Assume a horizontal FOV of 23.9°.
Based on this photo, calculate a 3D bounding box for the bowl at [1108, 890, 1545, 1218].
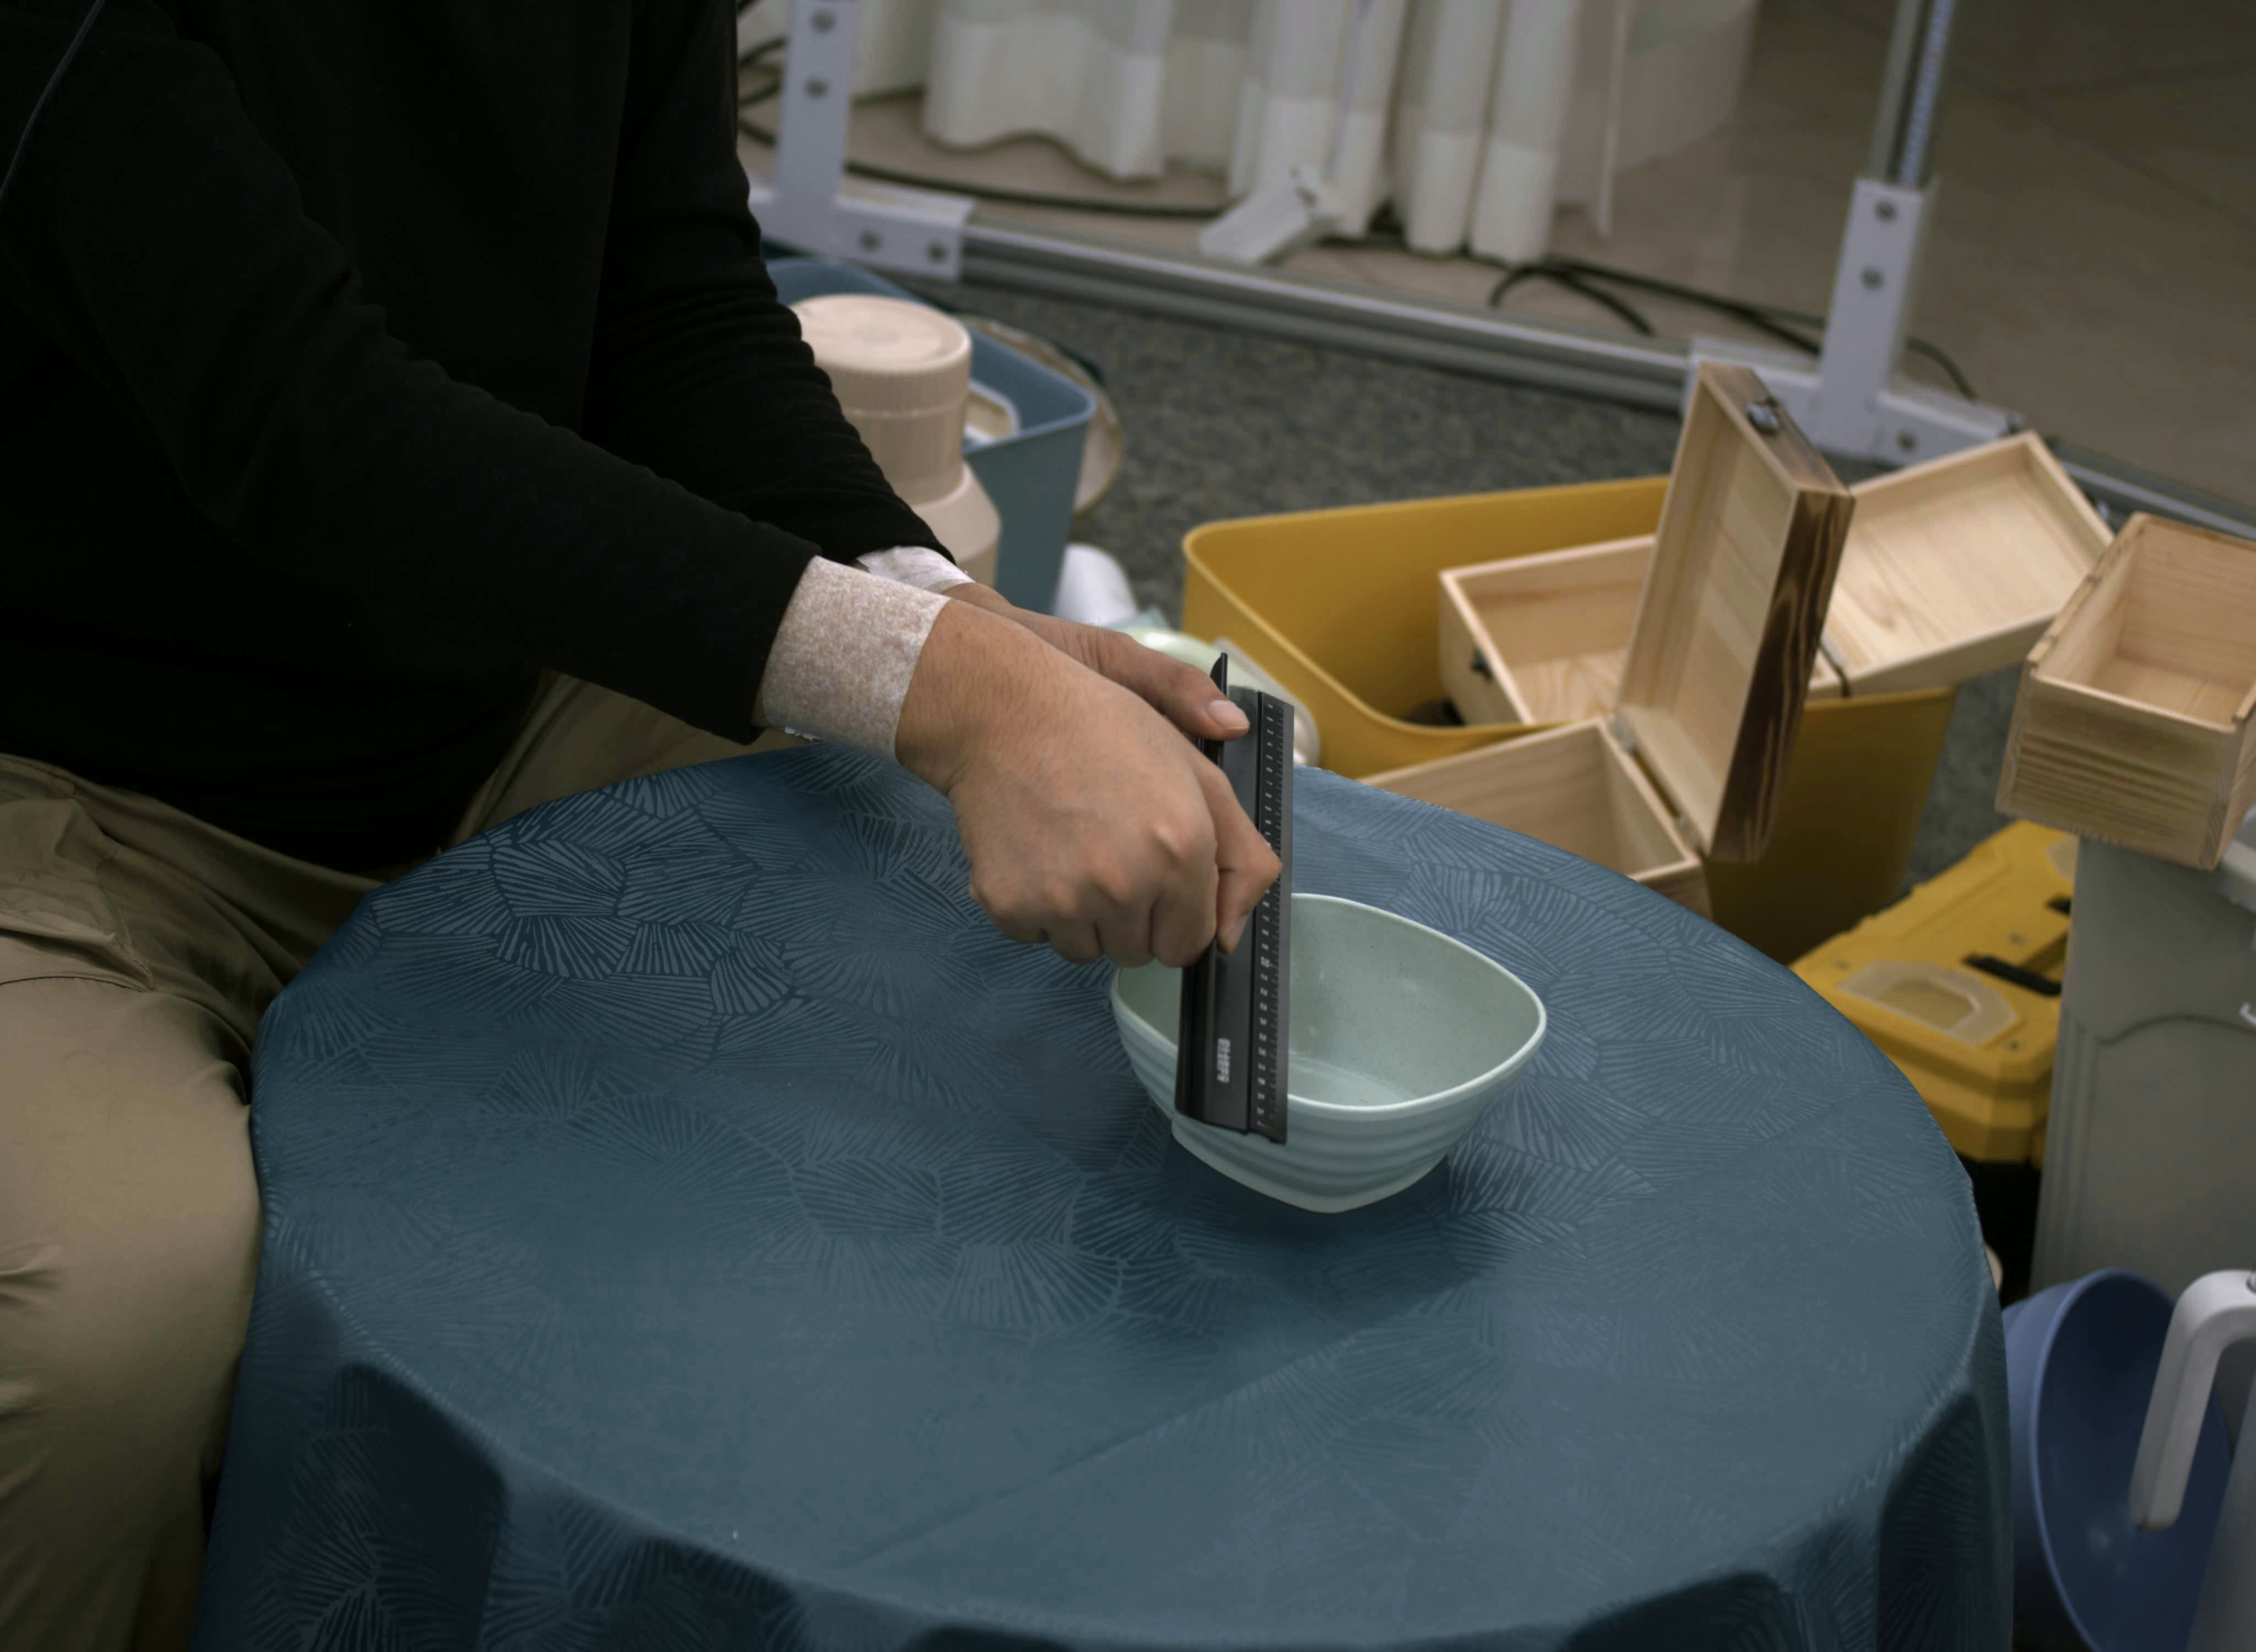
[{"bbox_3d":[0.065,0.085,1.833,0.151,0.058,0.152,5,29,-3],"label":"bowl"}]

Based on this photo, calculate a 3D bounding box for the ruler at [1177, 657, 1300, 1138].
[{"bbox_3d":[0.042,0.019,1.857,0.039,0.017,0.314,17,27,-6],"label":"ruler"}]
